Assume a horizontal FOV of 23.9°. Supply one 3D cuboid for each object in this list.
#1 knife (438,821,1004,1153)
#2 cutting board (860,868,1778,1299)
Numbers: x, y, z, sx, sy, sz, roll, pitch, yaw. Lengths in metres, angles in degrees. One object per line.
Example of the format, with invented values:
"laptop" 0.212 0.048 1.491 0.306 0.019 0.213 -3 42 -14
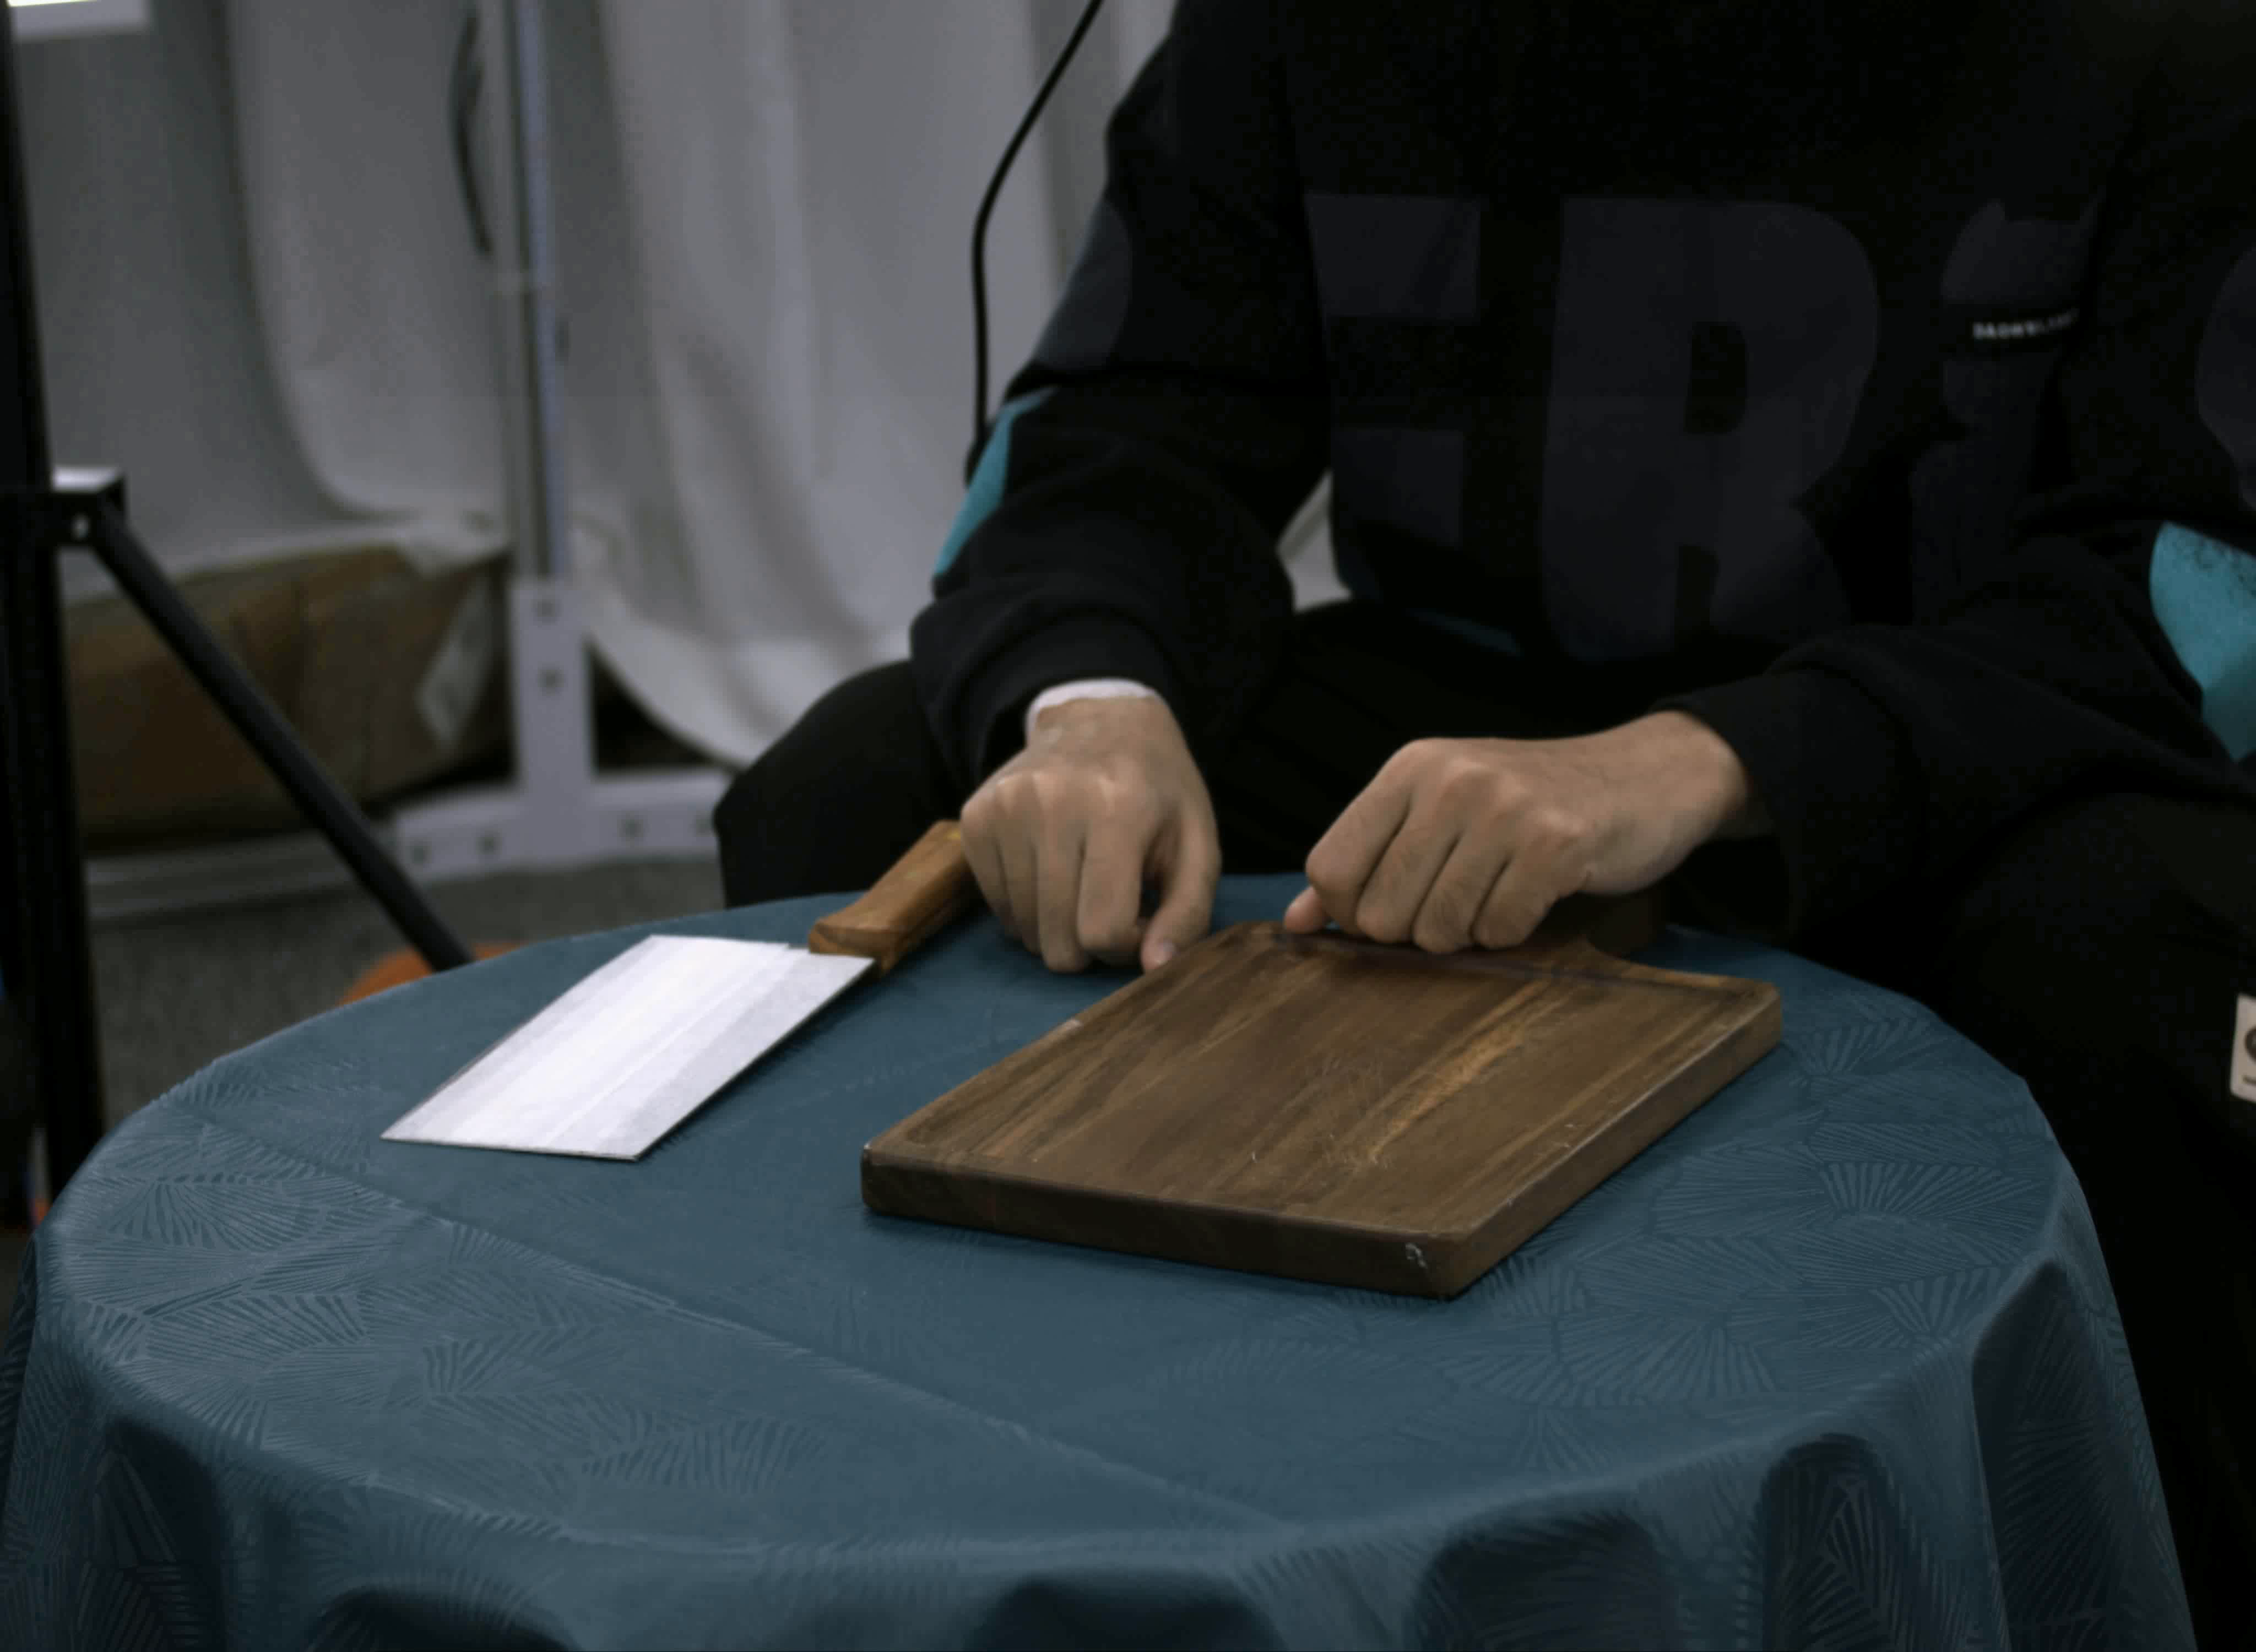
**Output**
"knife" -0.132 0.052 1.753 0.094 0.021 0.302 2 19 22
"cutting board" 0.086 0.069 1.643 0.204 0.023 0.346 6 18 28
